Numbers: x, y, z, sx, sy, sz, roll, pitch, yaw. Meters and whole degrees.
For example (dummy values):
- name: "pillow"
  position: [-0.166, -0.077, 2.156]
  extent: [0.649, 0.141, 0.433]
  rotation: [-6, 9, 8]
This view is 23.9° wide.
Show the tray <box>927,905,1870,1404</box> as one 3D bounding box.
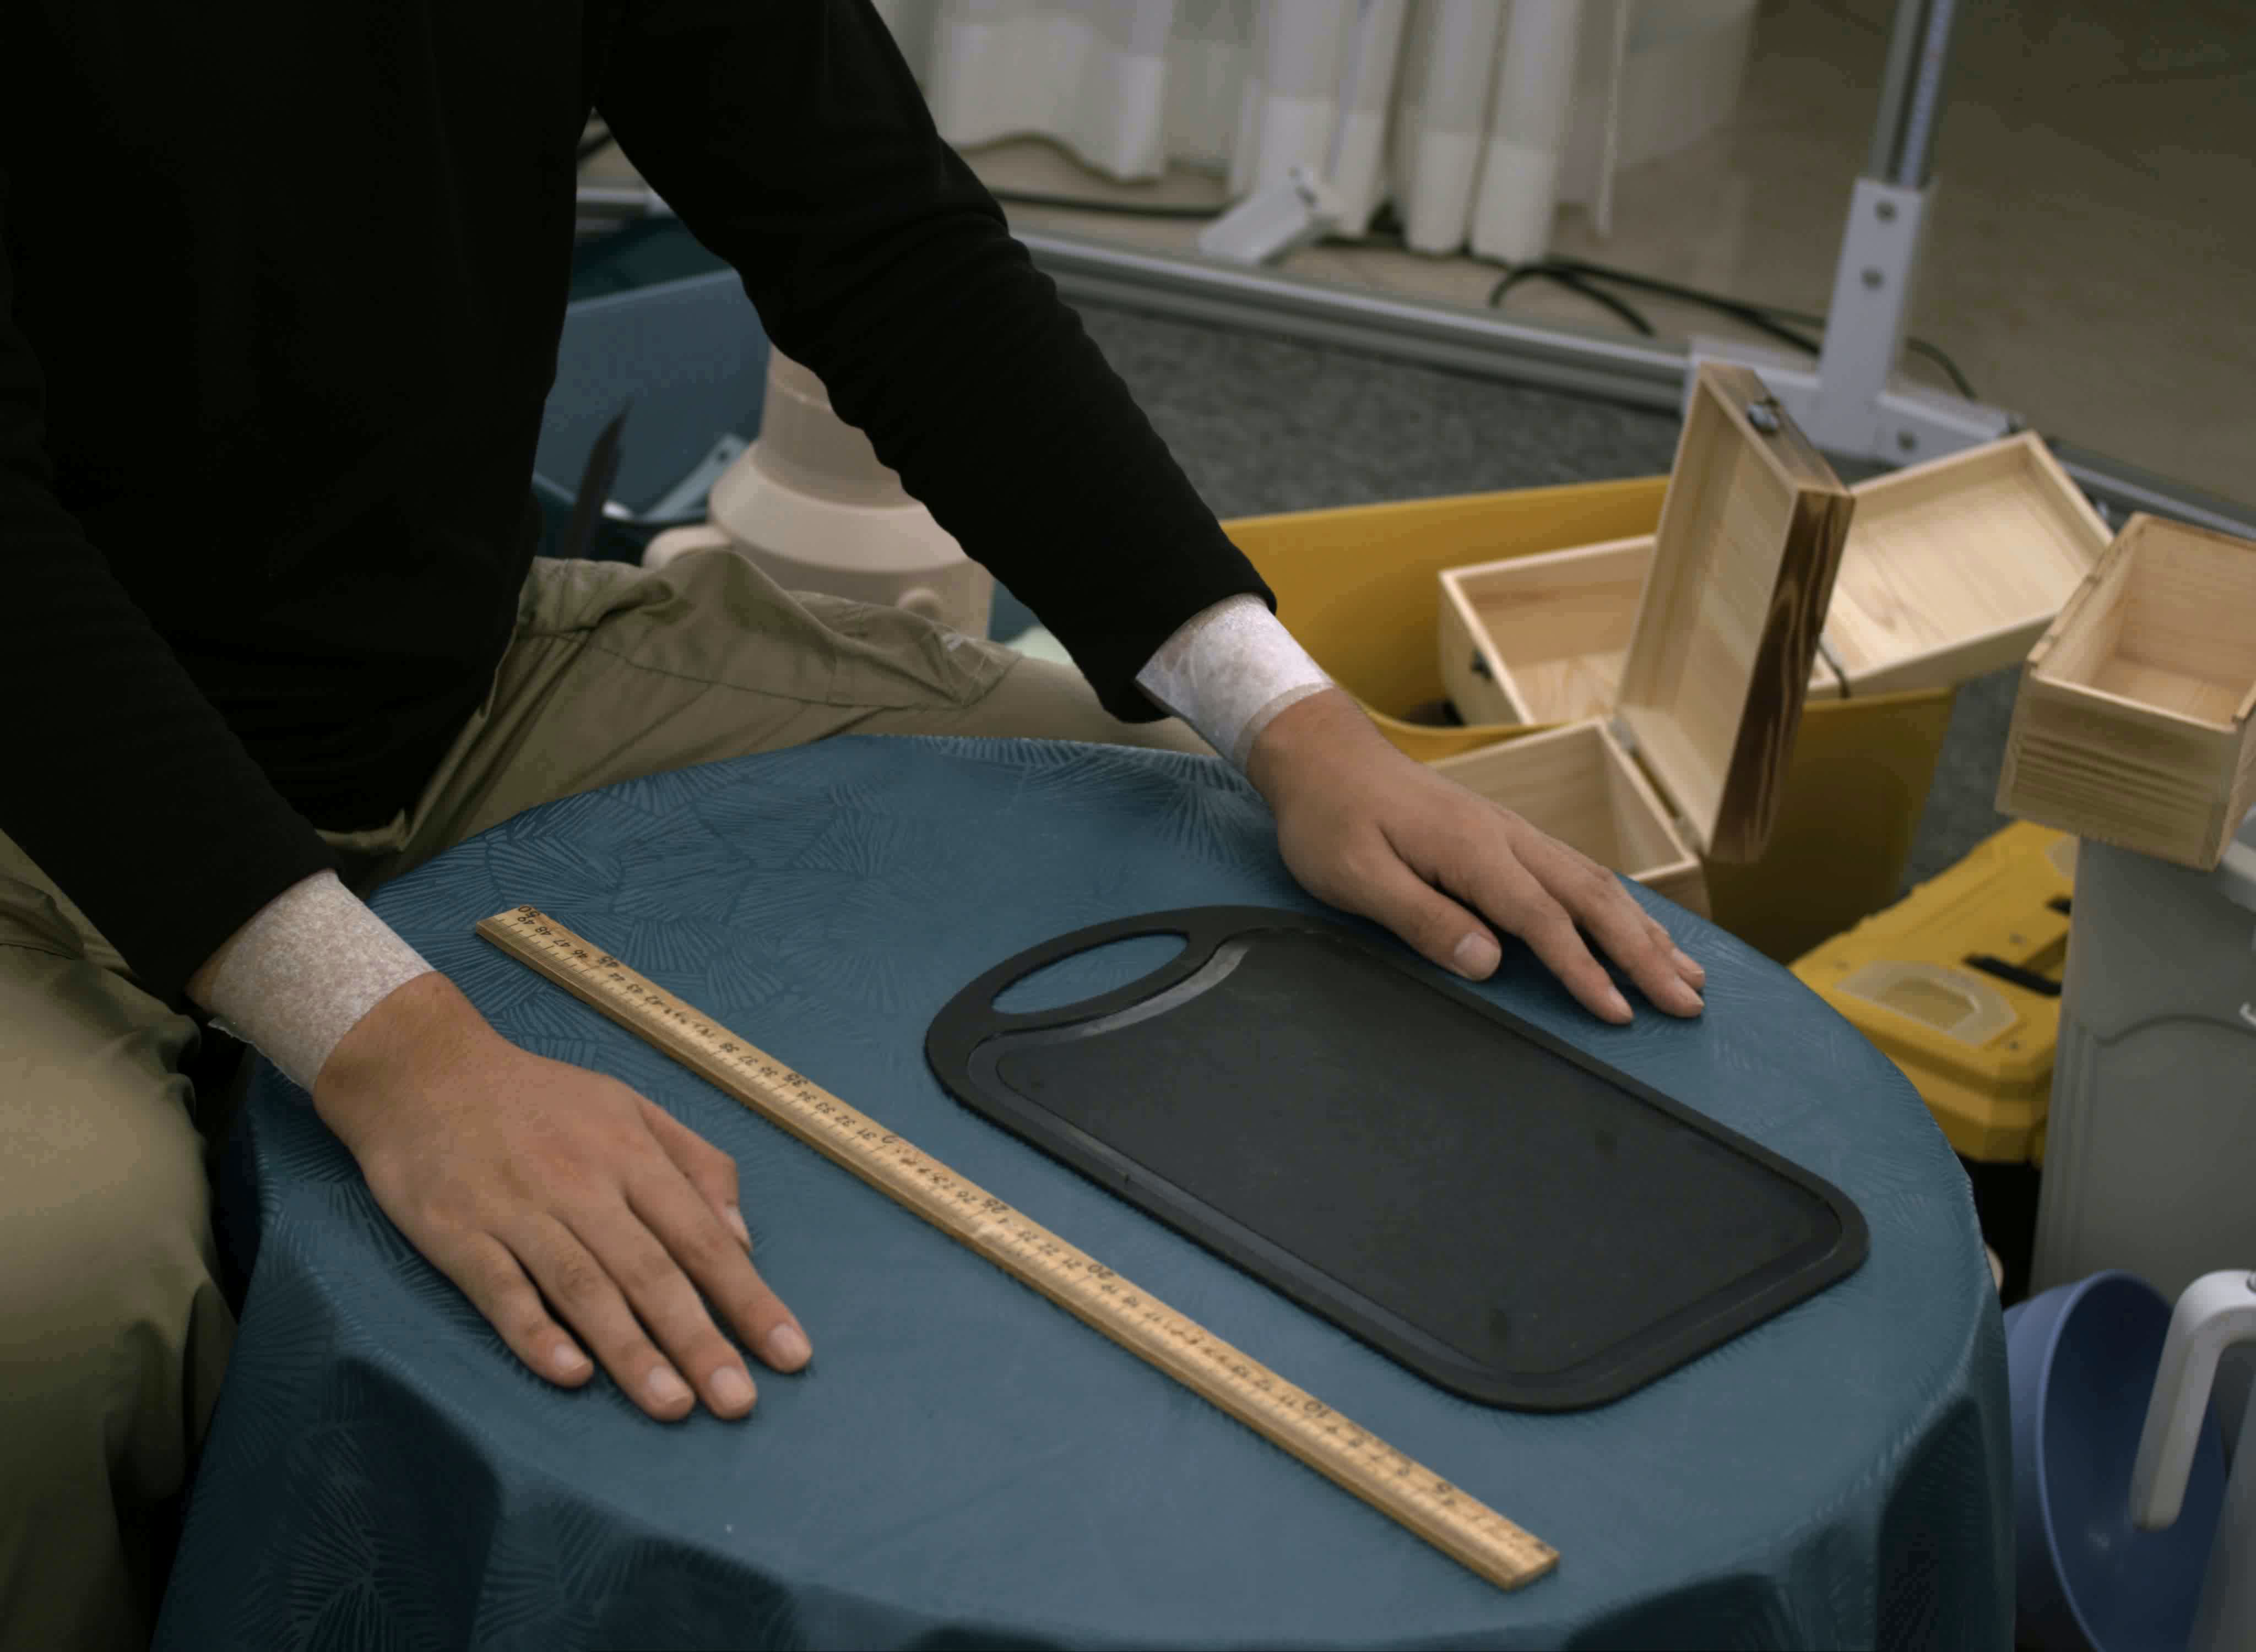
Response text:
- name: "tray"
  position: [0.085, 0.104, 1.851]
  extent: [0.328, 0.010, 0.210]
  rotation: [29, 34, 37]

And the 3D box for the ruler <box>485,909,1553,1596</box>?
- name: "ruler"
  position: [-0.050, 0.131, 1.770]
  extent: [0.026, 0.006, 0.504]
  rotation: [-18, 35, -41]
